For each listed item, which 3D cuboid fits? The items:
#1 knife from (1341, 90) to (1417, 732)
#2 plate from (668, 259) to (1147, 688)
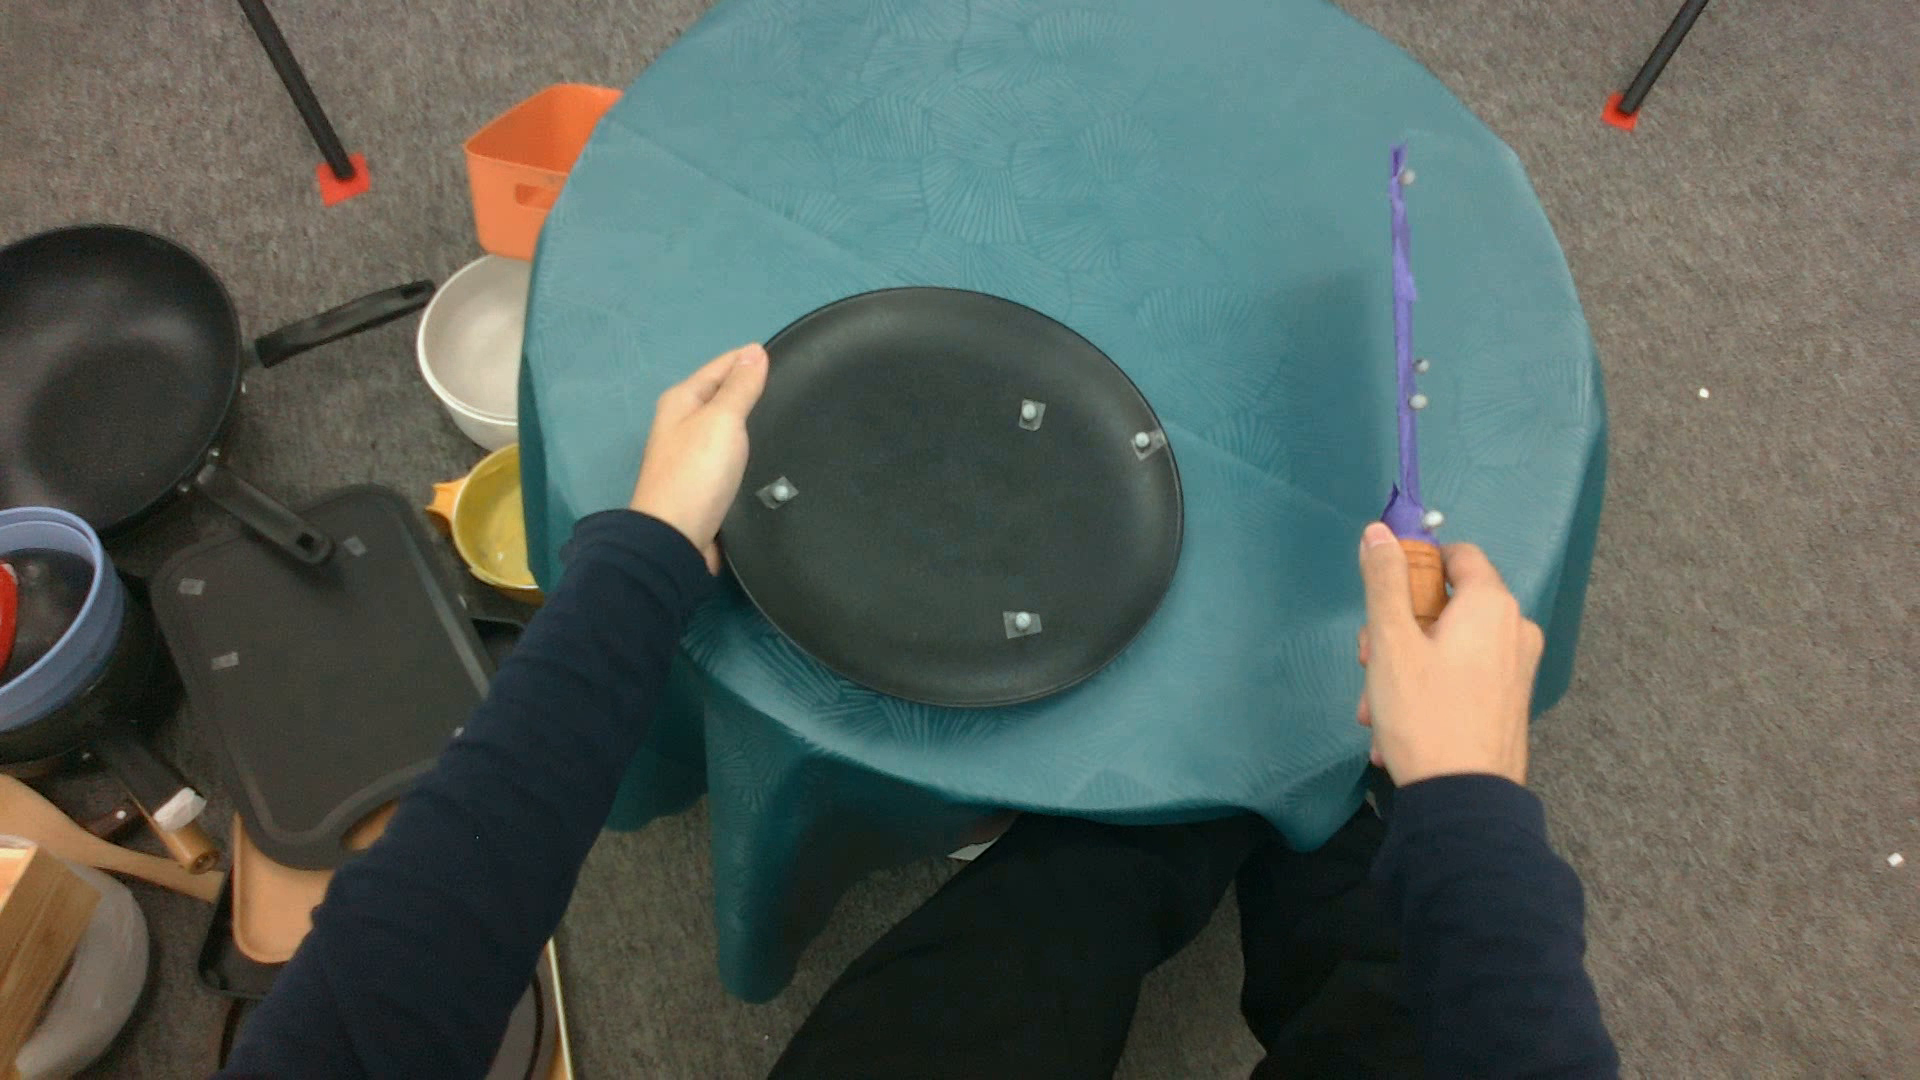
[{"bbox_3d":[0.207,-0.058,0.667,0.032,0.104,0.316,-2,71,22],"label":"knife"},{"bbox_3d":[-0.024,-0.037,0.697,0.244,0.023,0.245,6,63,-12],"label":"plate"}]
